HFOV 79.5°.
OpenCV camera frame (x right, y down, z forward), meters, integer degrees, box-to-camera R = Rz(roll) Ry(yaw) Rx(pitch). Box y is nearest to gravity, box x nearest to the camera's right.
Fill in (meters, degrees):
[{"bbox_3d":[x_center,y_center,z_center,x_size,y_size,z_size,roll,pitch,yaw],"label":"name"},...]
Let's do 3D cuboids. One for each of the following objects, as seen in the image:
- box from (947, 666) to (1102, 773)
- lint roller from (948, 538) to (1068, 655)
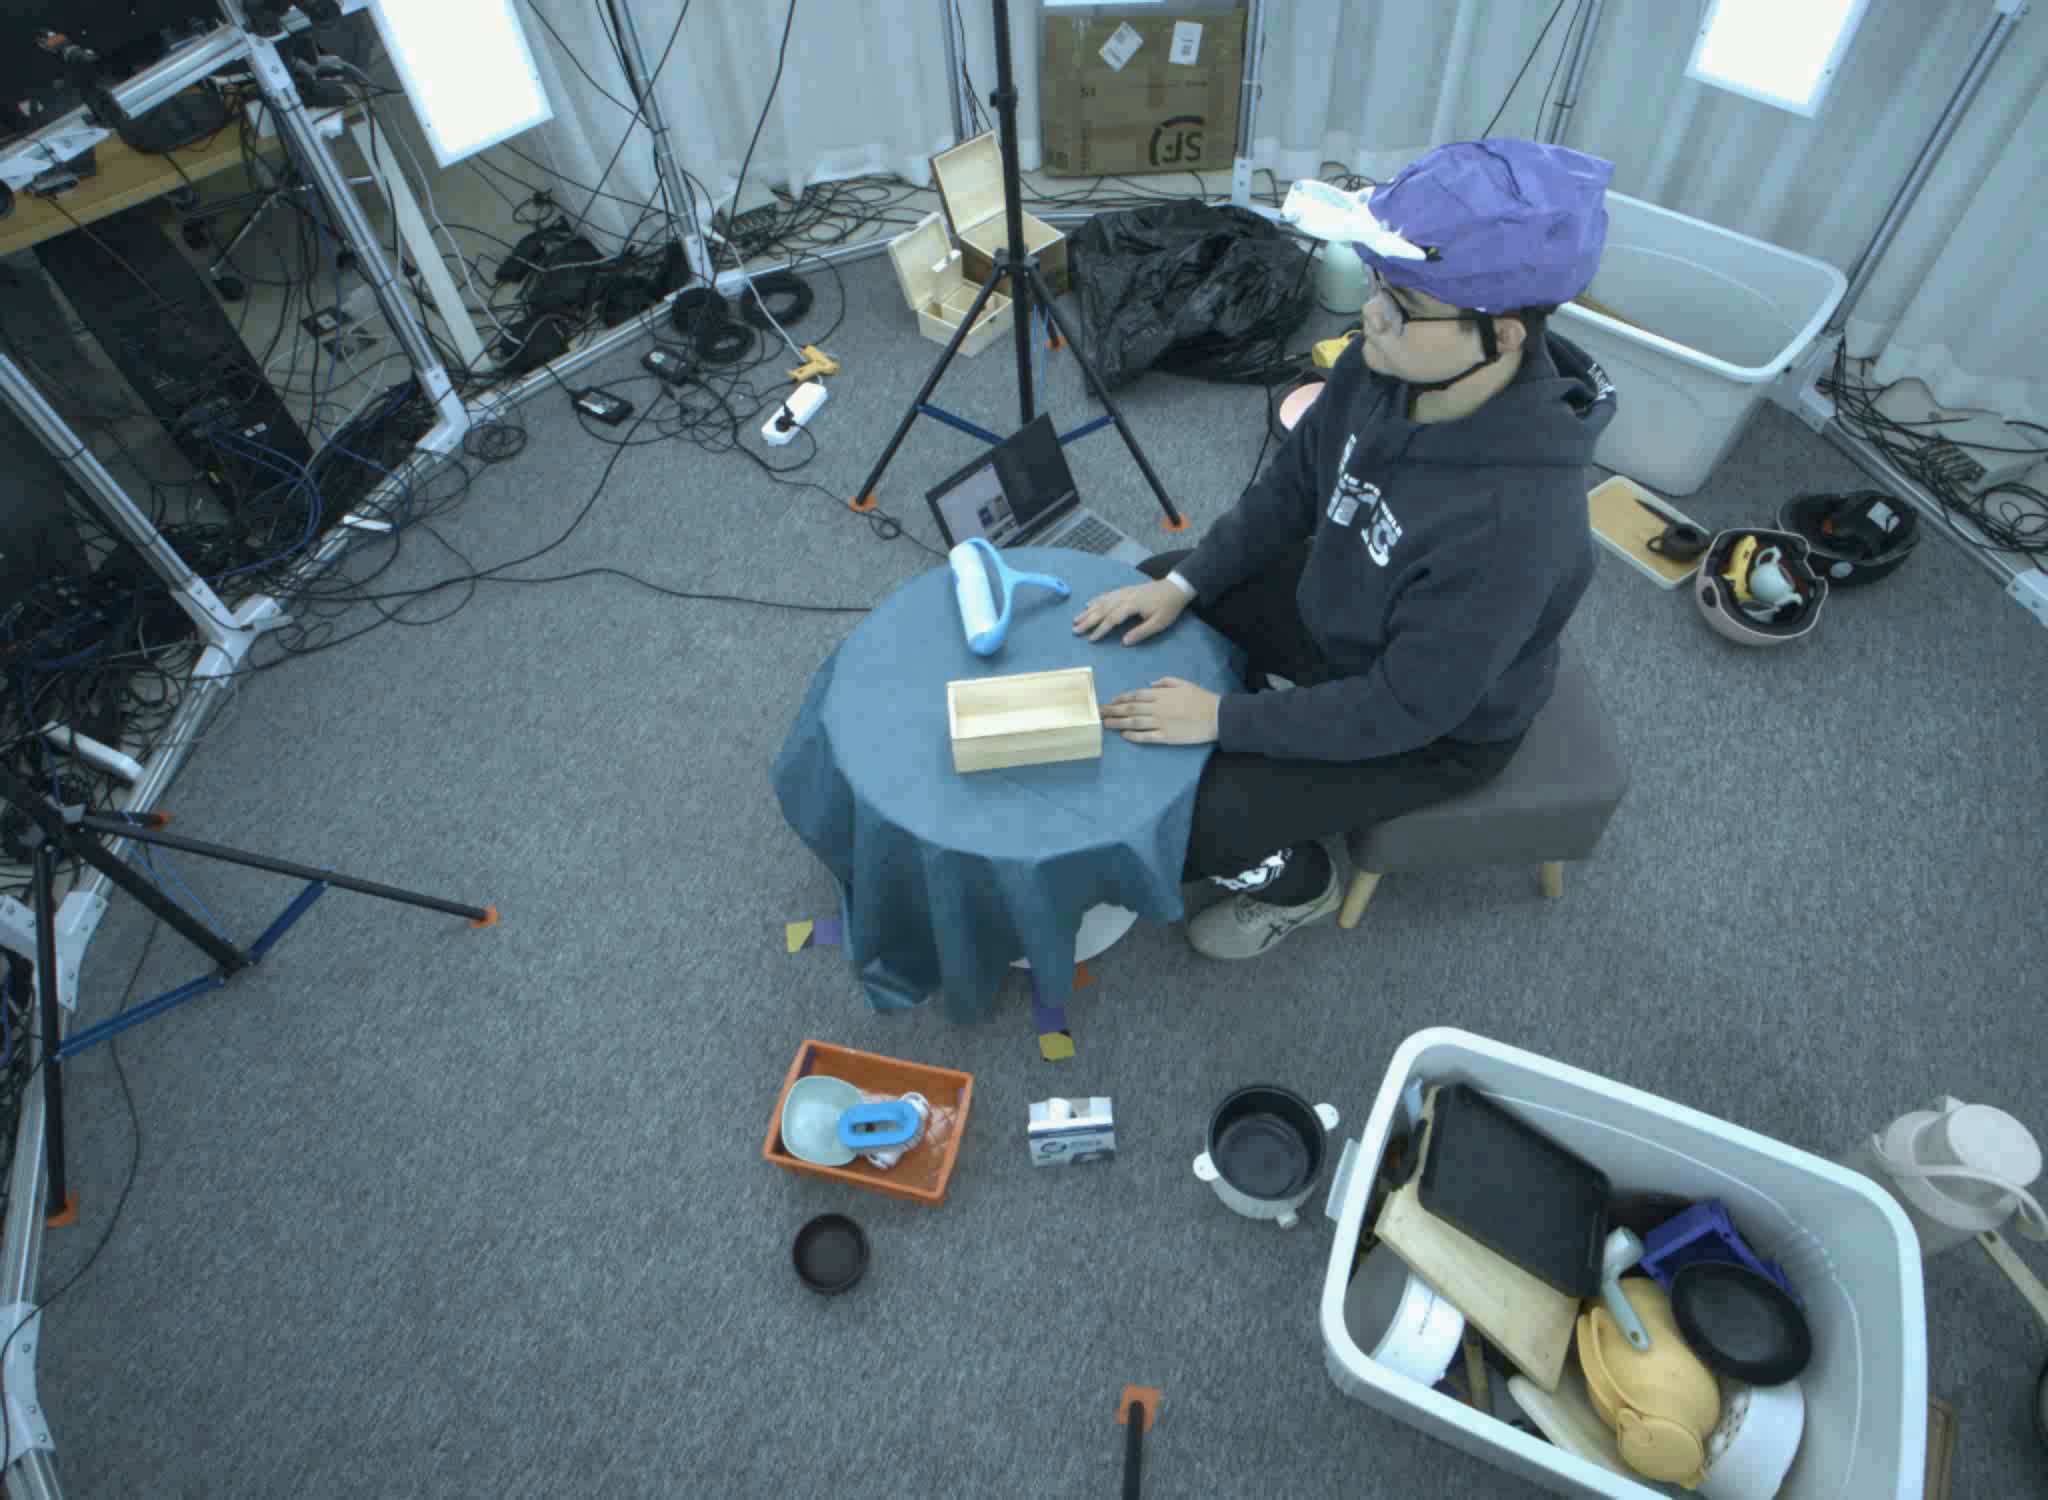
[{"bbox_3d":[0.000,-0.044,1.770,0.212,0.081,0.106,-7,55,-3],"label":"box"},{"bbox_3d":[-0.022,-0.254,1.930,0.181,0.069,0.225,-13,54,-5],"label":"lint roller"}]
